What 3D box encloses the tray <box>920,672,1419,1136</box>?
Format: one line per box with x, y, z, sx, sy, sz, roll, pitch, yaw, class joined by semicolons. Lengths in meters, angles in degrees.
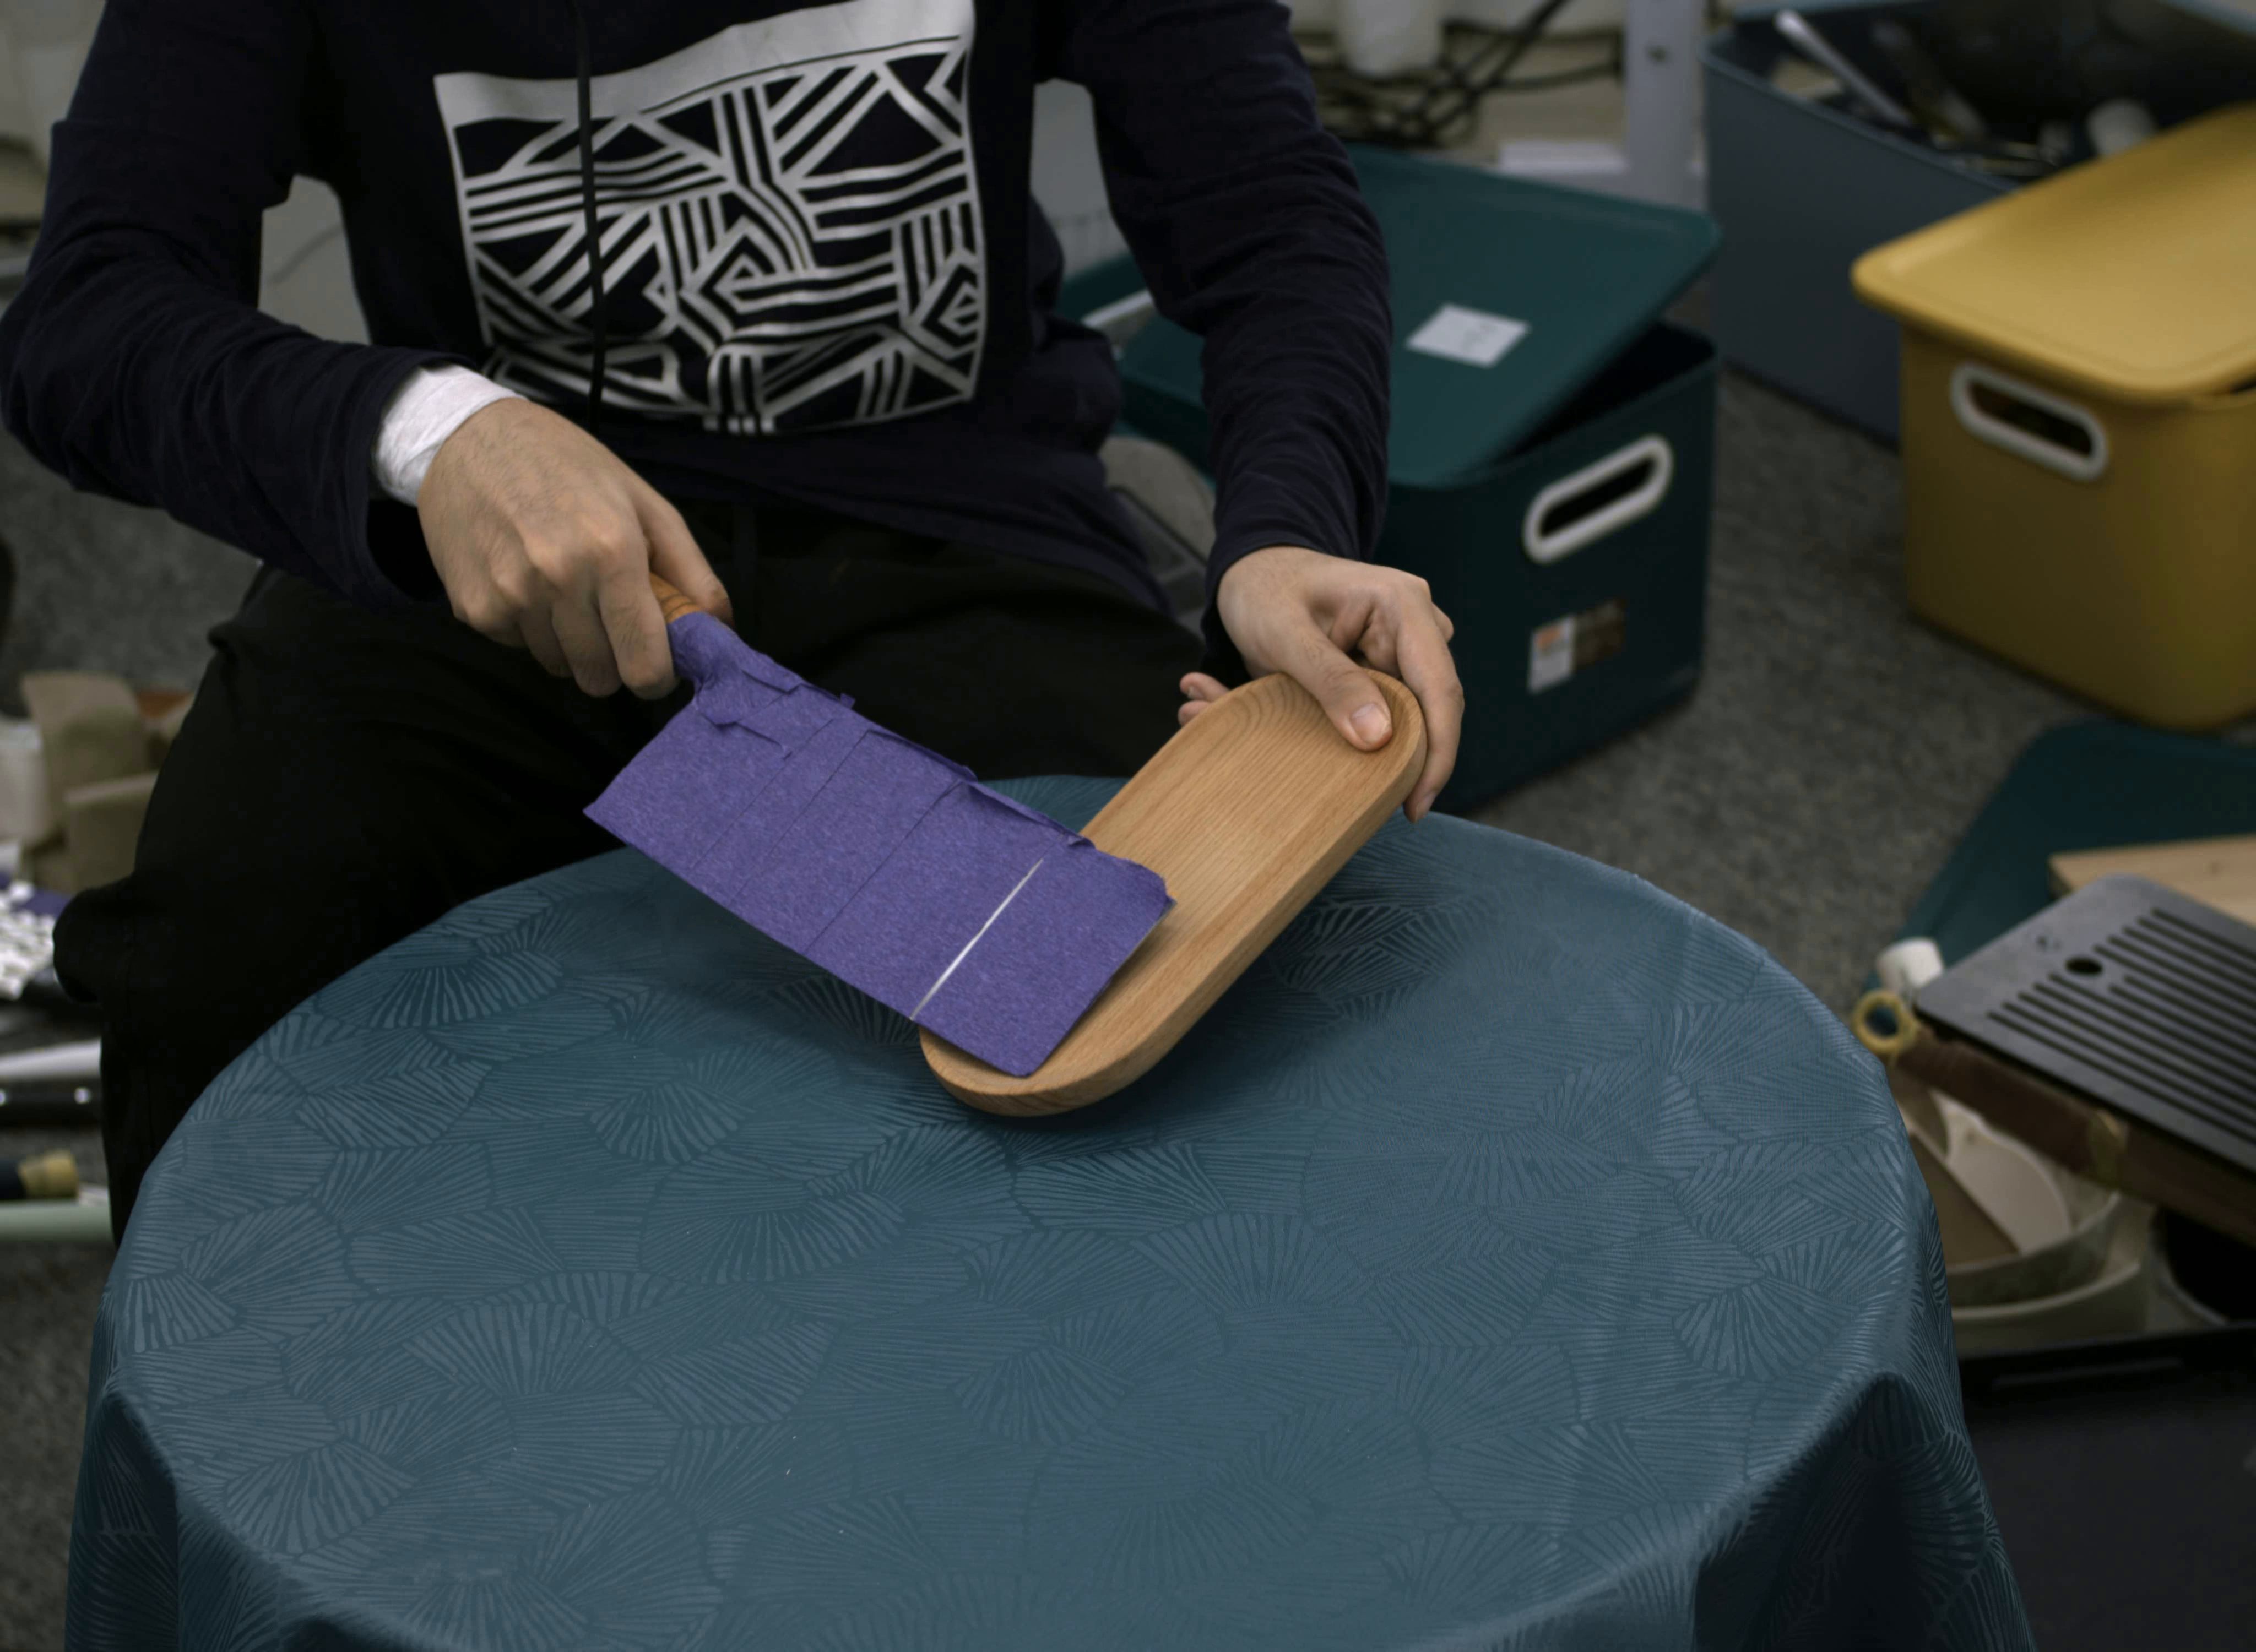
0.017;0.026;1.955;0.101;0.020;0.235;12;49;41;tray

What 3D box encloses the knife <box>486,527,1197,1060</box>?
-0.126;-0.013;1.987;0.315;0.032;0.105;28;62;29;knife
